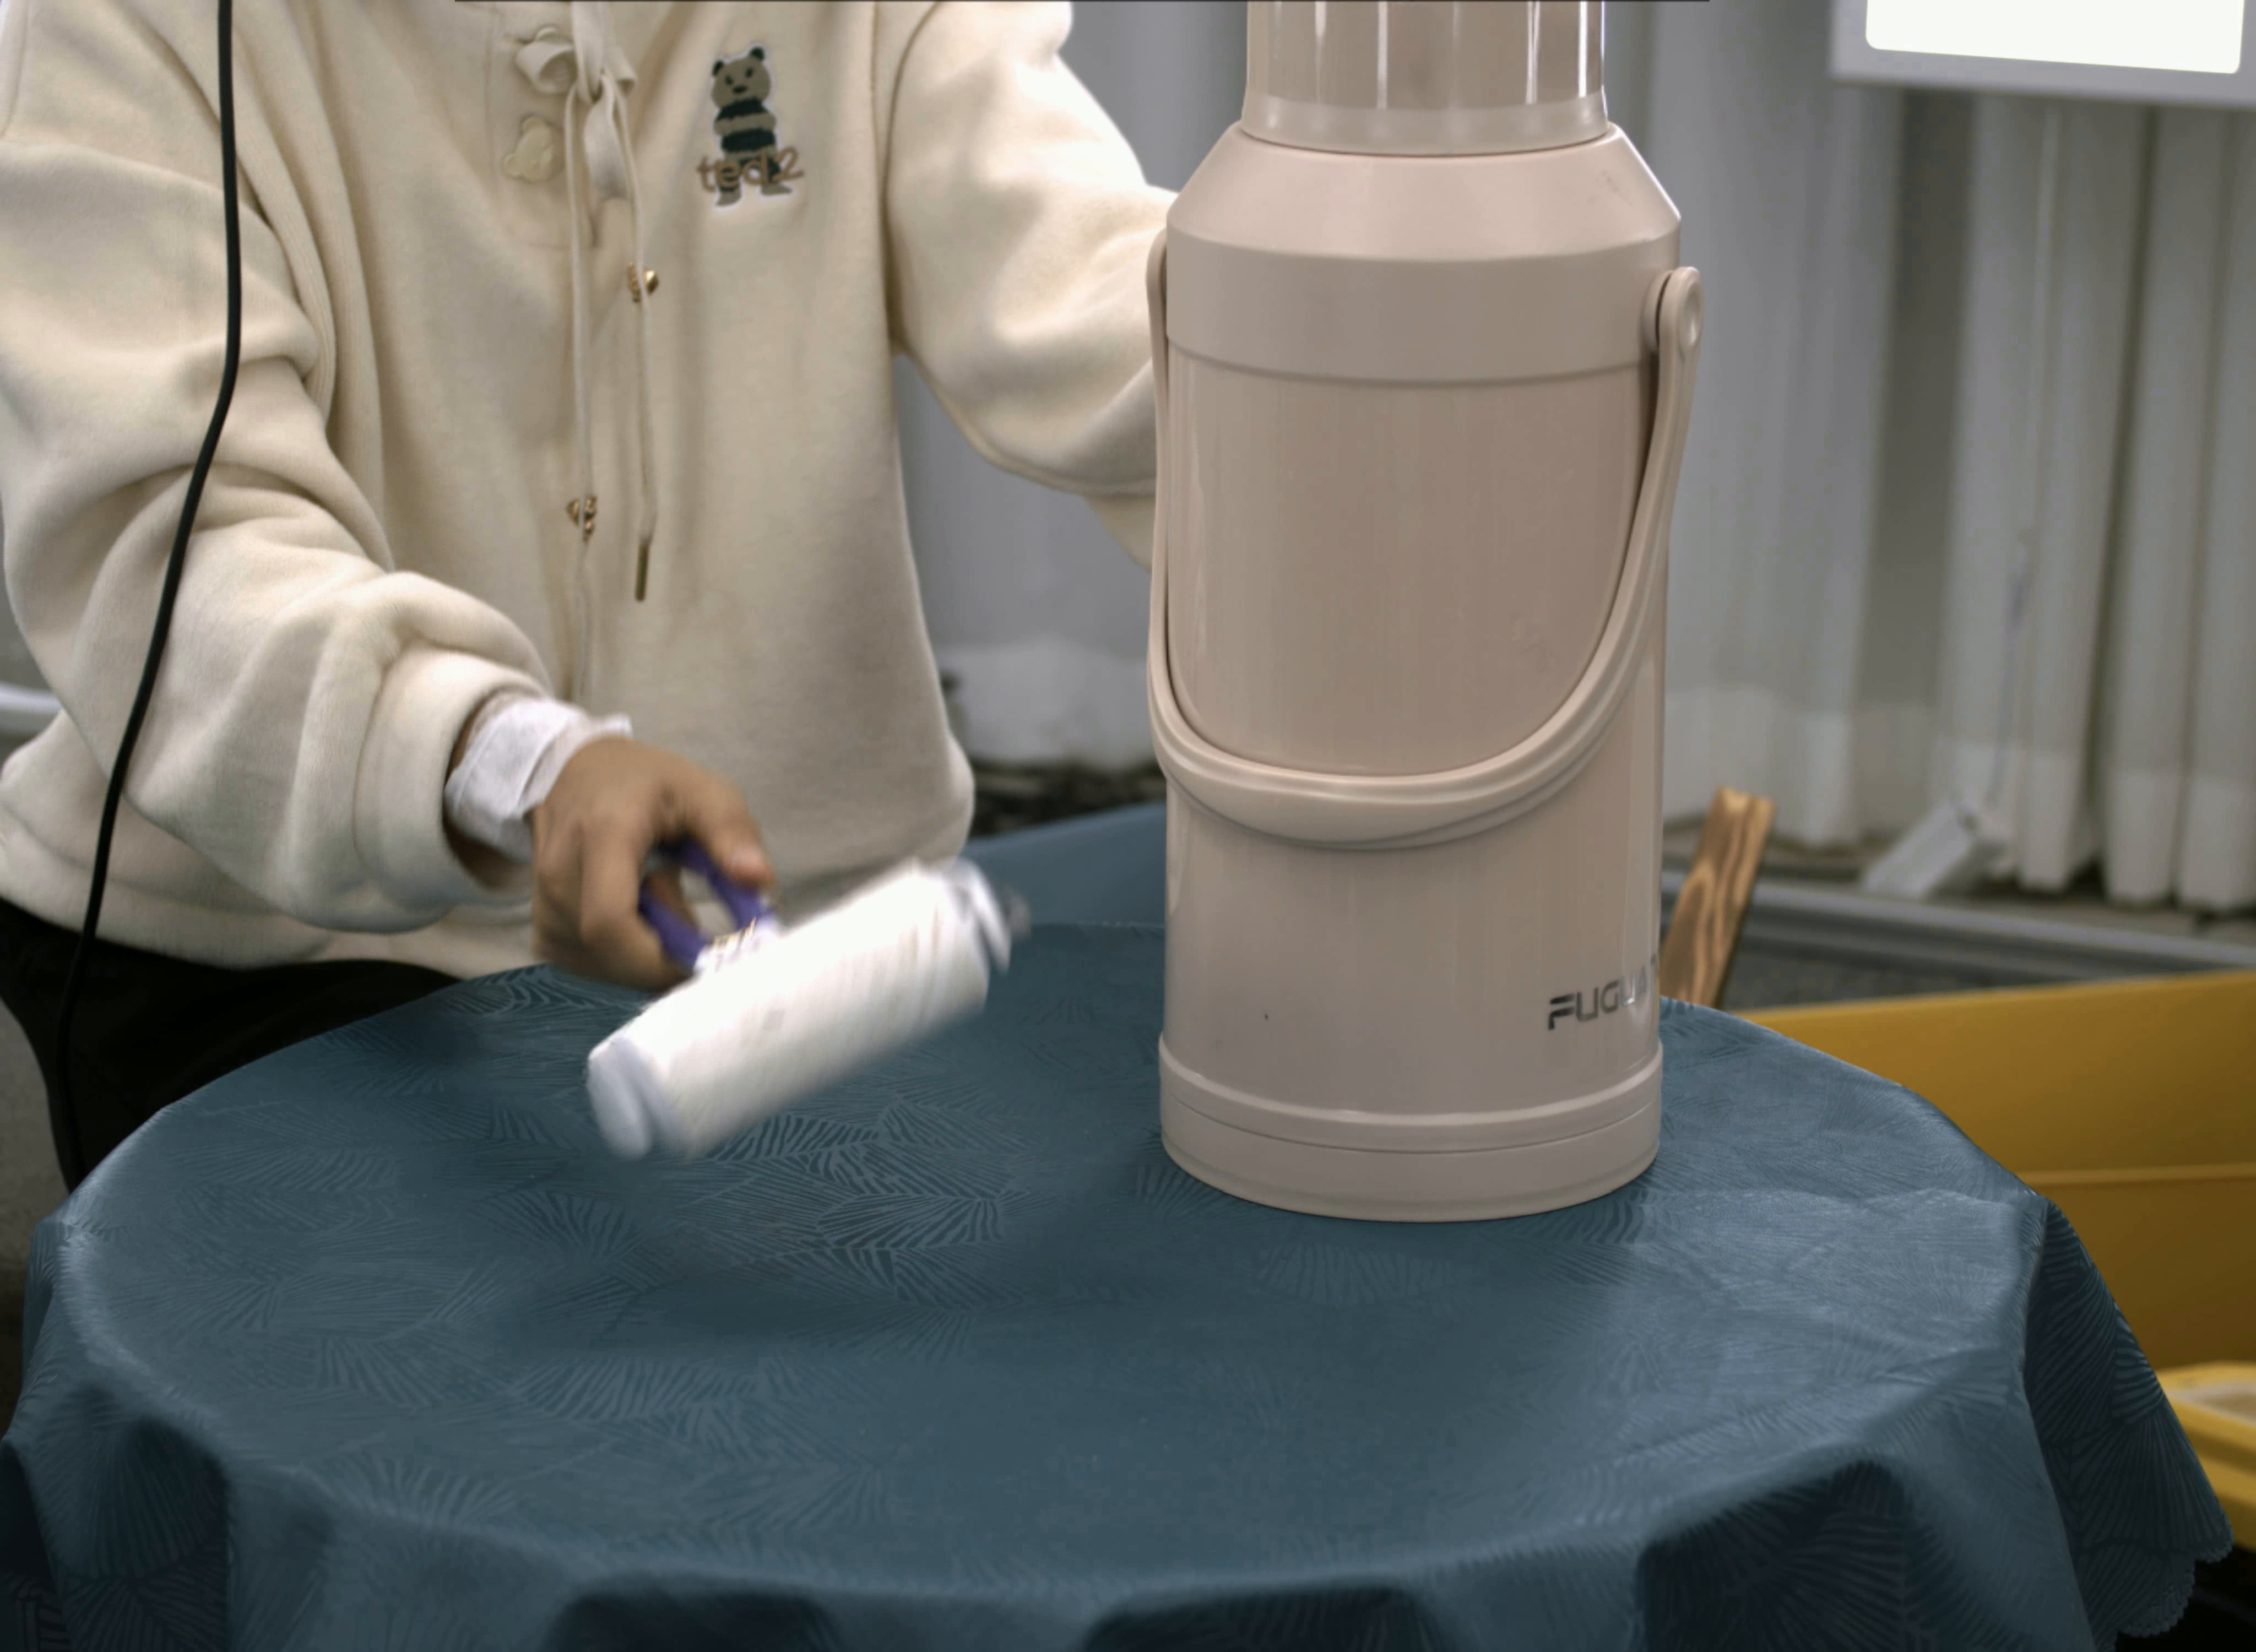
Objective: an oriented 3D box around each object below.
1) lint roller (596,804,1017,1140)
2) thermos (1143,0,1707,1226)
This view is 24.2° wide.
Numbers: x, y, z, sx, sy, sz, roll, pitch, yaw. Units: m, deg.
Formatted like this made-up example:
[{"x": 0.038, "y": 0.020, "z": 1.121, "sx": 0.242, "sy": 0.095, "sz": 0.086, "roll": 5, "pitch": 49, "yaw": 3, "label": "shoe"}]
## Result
[{"x": -0.119, "y": 0.020, "z": 1.590, "sx": 0.133, "sy": 0.051, "sz": 0.178, "roll": -31, "pitch": 36, "yaw": -10, "label": "lint roller"}, {"x": 0.096, "y": -0.094, "z": 1.625, "sx": 0.173, "sy": 0.409, "sz": 0.207, "roll": 7, "pitch": 17, "yaw": 25, "label": "thermos"}]
